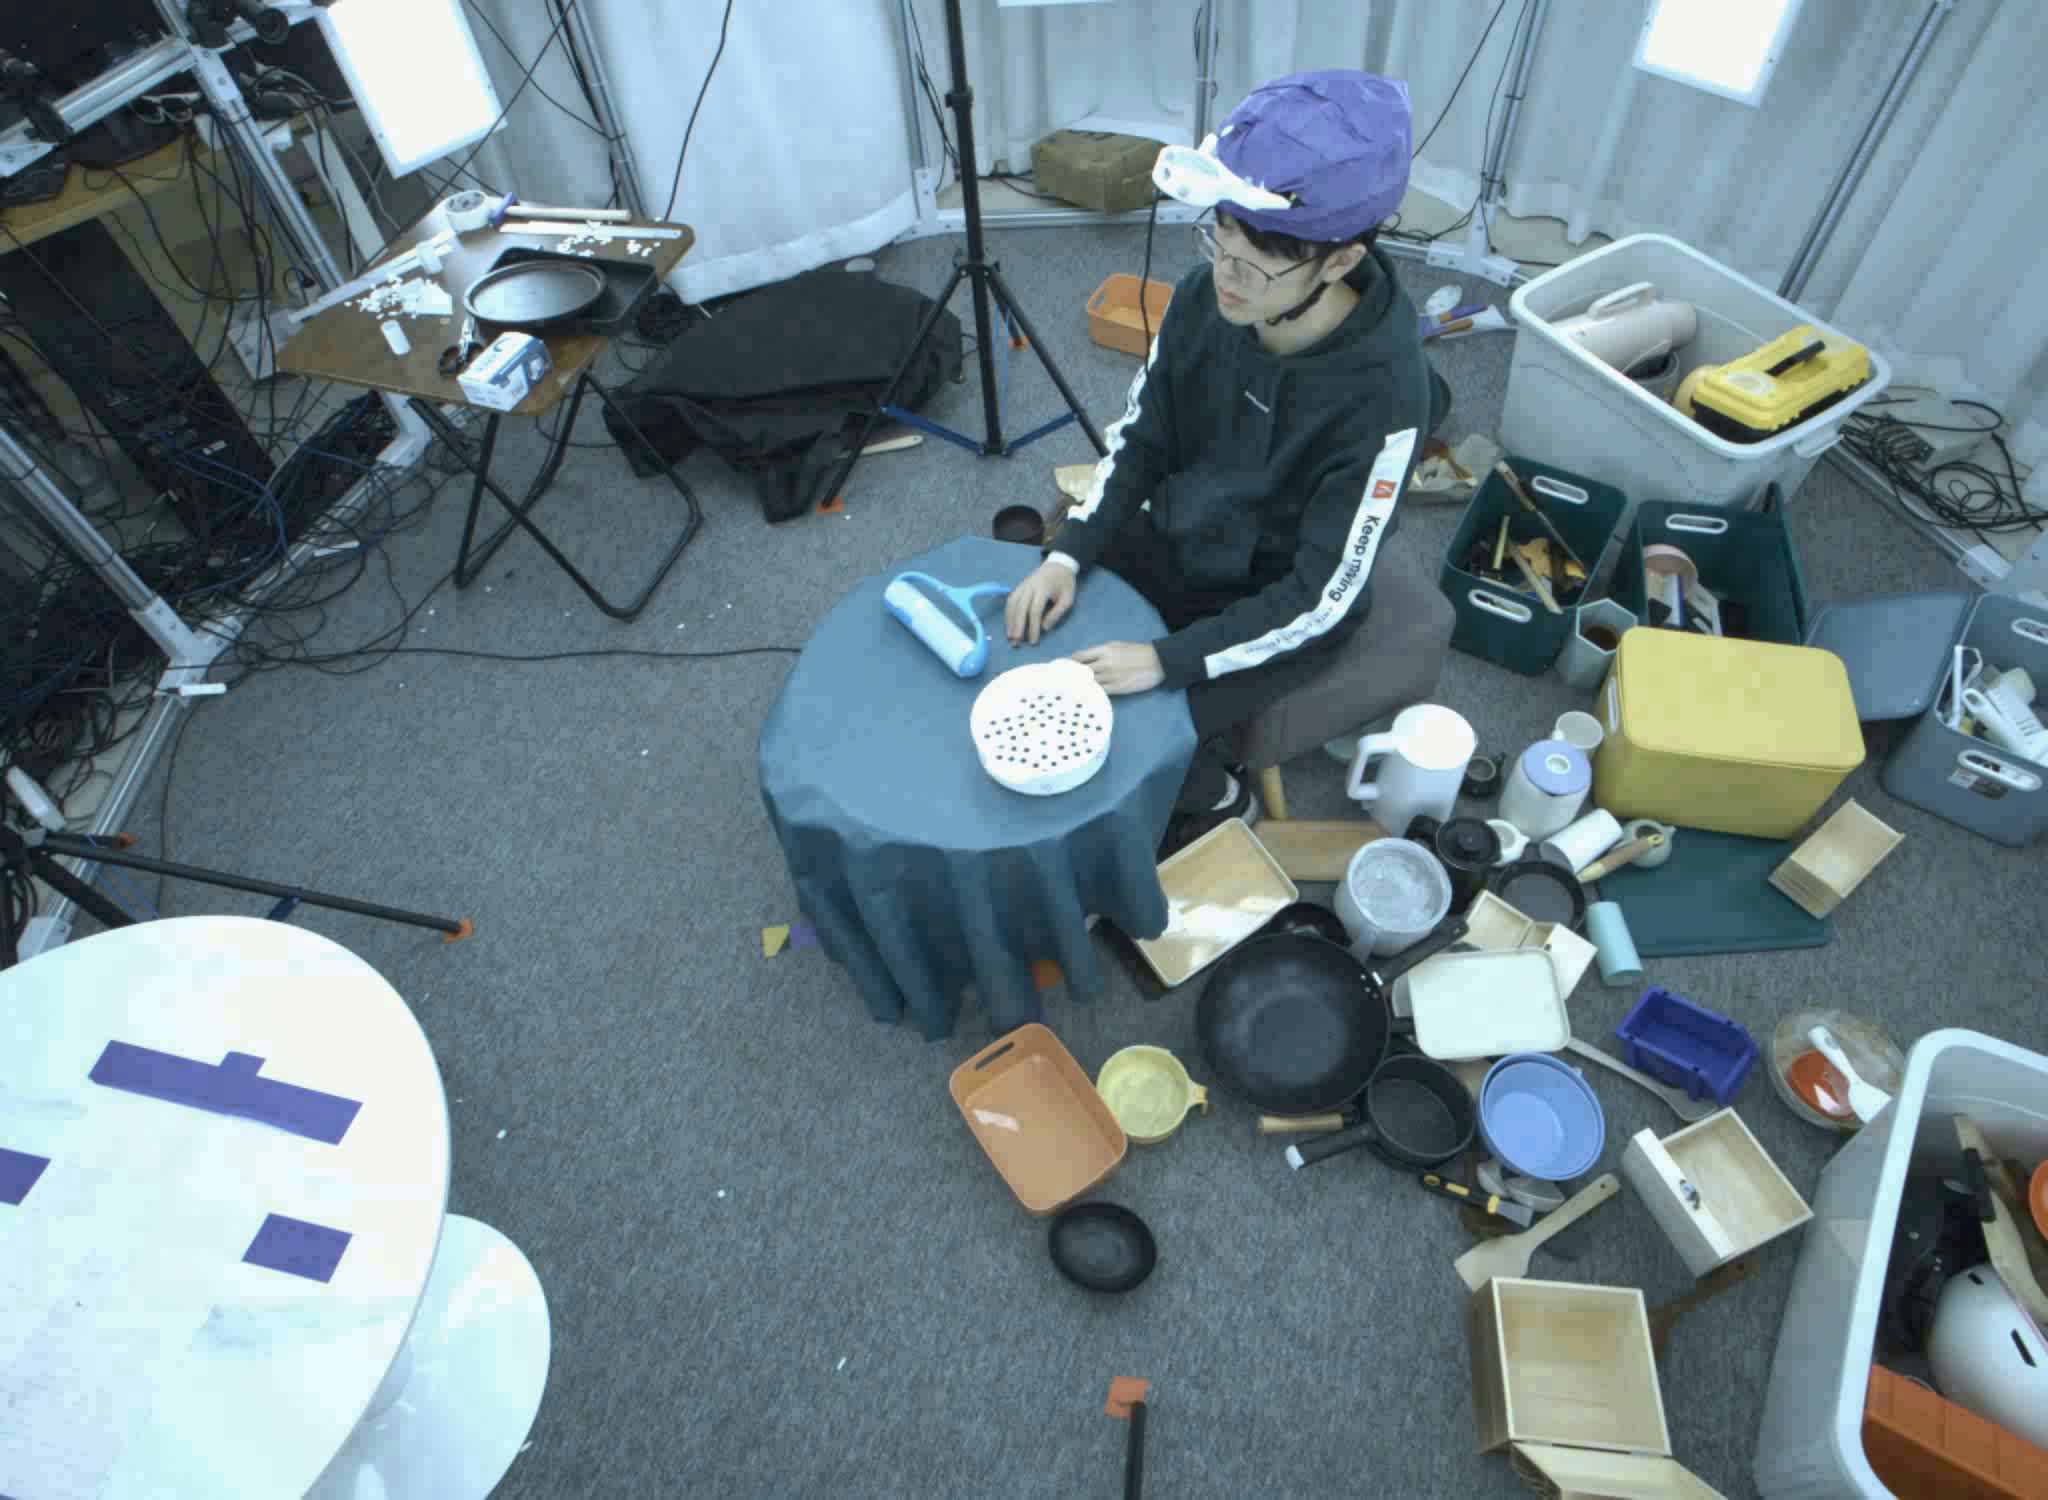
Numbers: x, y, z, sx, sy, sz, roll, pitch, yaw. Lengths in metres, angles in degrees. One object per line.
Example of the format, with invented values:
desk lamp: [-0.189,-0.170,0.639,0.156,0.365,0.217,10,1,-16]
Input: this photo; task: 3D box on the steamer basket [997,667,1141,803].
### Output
steamer basket: [0.064,-0.018,1.752,0.199,0.070,0.231,24,58,17]

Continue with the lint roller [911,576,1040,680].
lint roller: [-0.052,-0.218,1.906,0.181,0.069,0.224,-38,59,-21]
